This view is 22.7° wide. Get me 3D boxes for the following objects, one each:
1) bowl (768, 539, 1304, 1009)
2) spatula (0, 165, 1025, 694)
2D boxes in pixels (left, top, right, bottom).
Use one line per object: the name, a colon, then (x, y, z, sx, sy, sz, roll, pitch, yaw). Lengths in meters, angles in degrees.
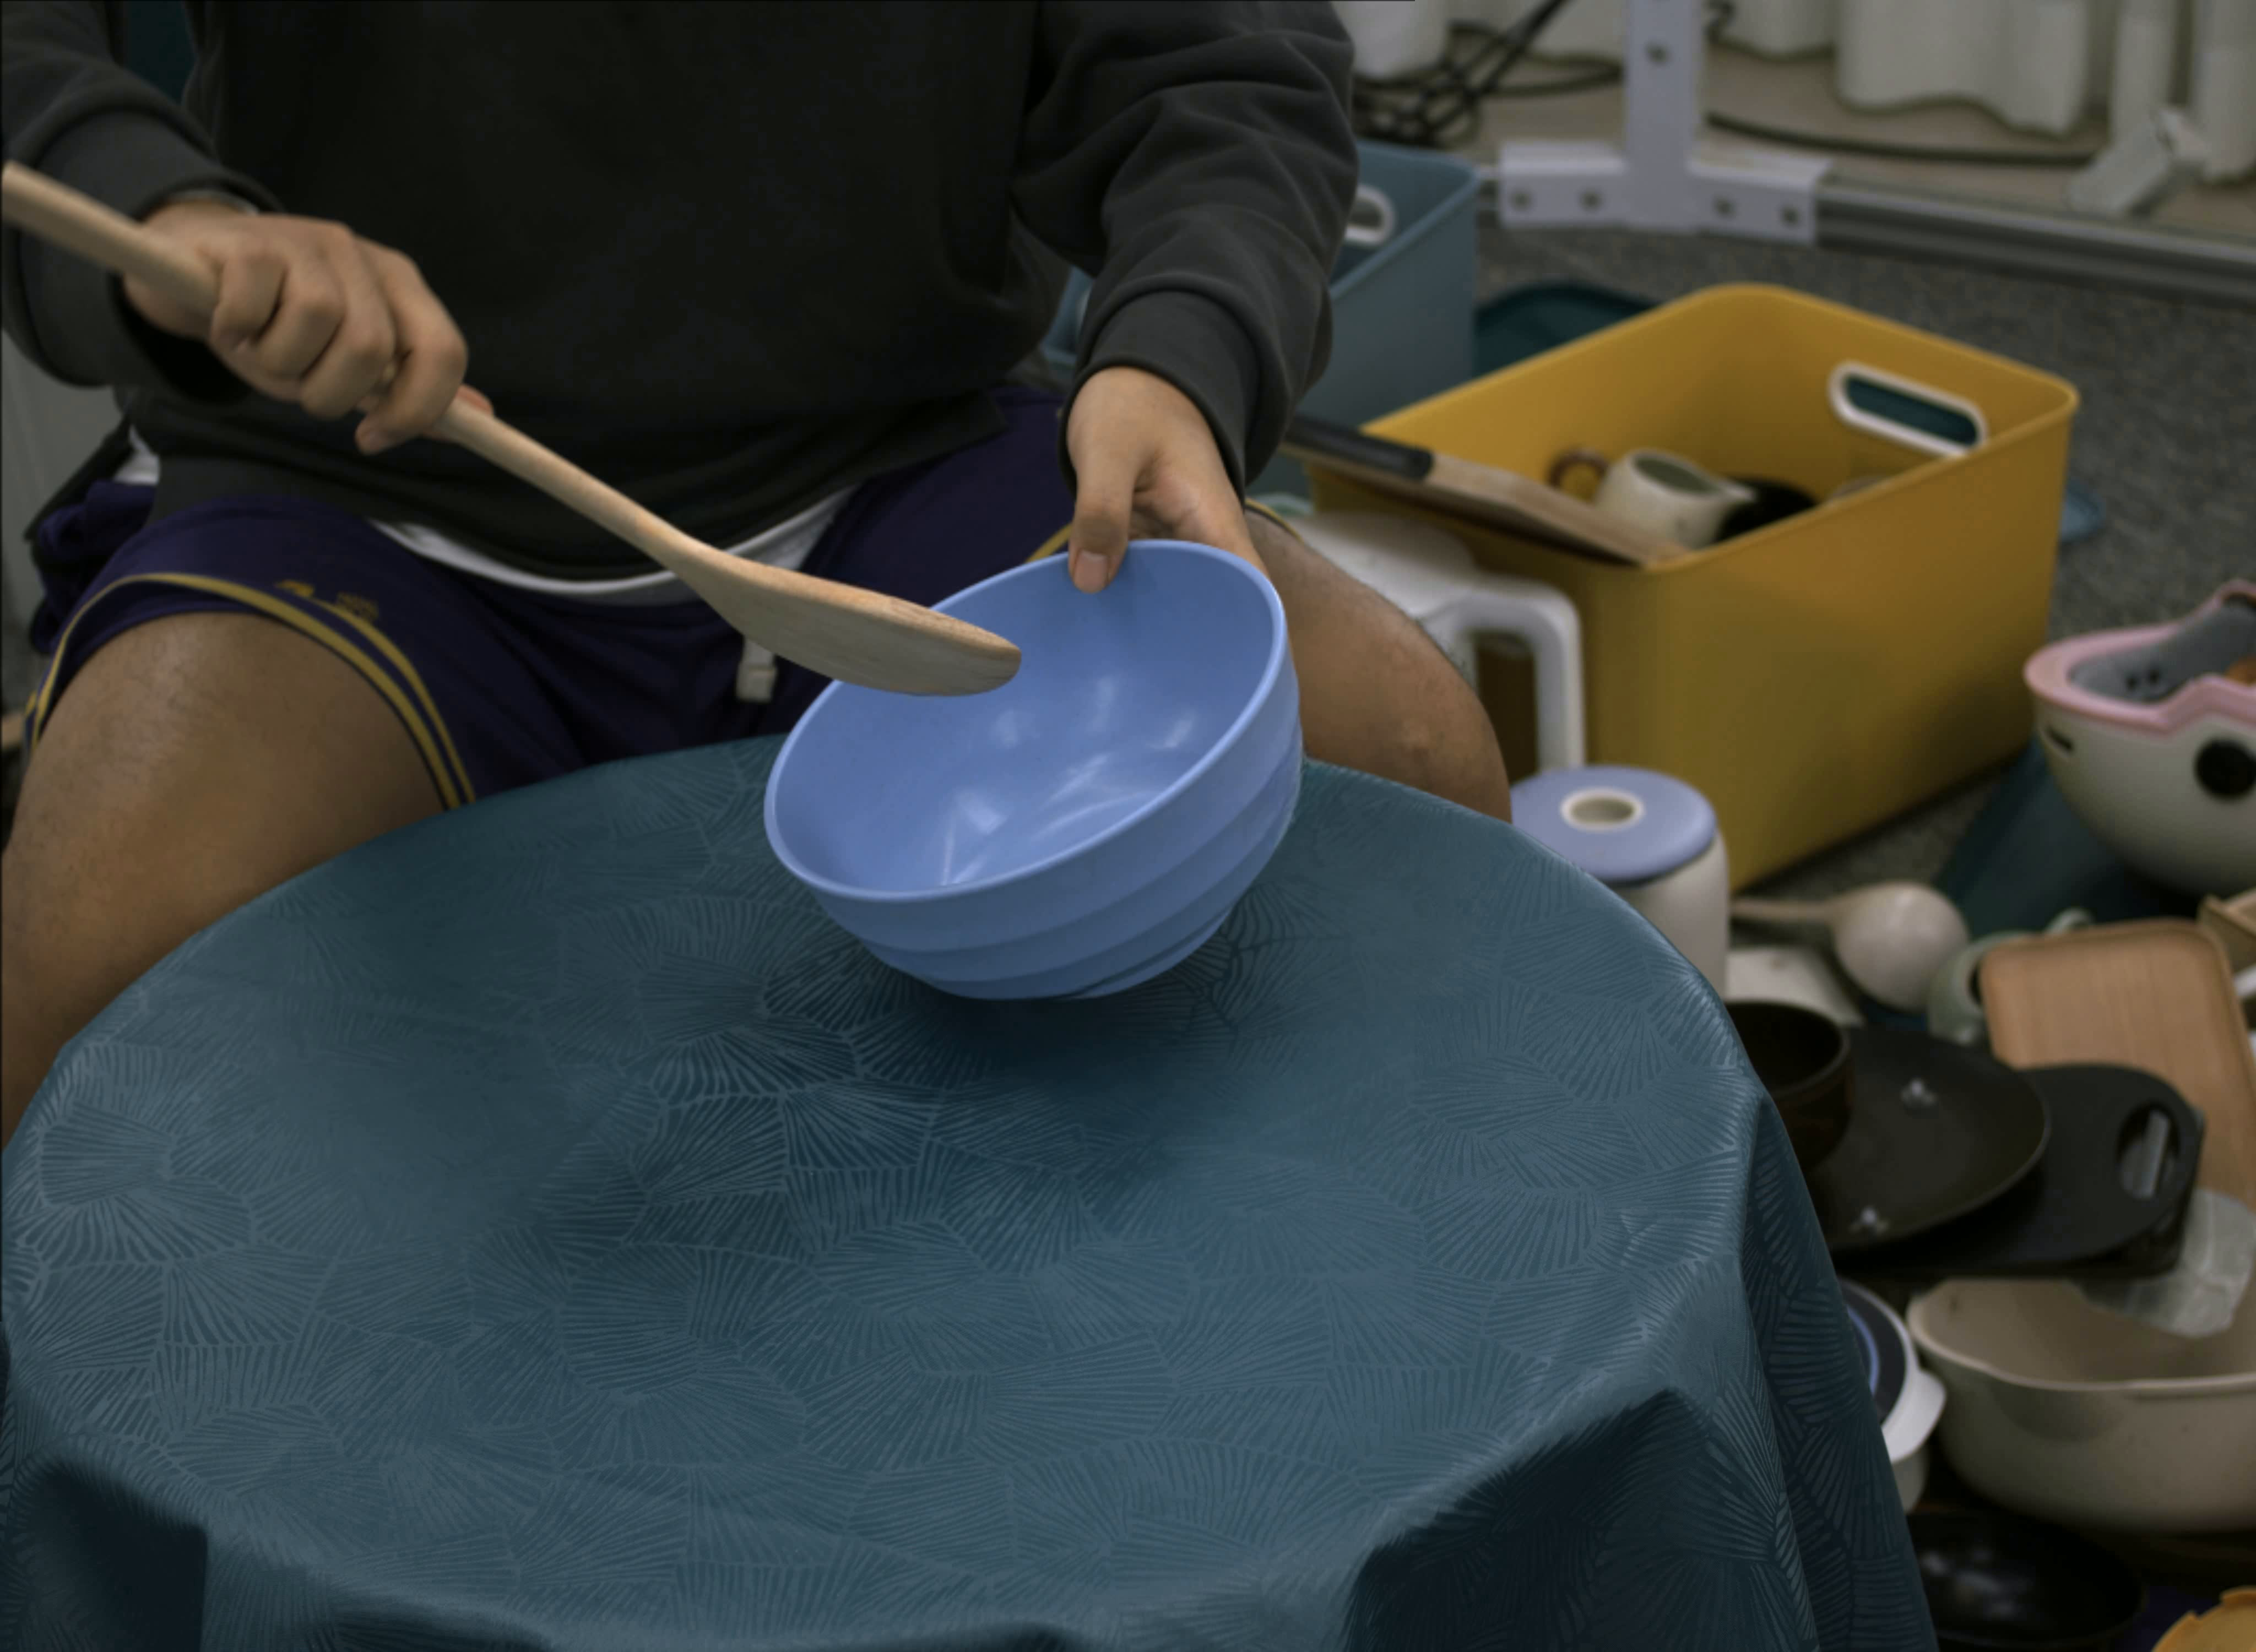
bowl: (-0.019, -0.003, 1.969, 0.195, 0.094, 0.200, -19, 33, 13)
spatula: (-0.207, -0.126, 1.824, 0.389, 0.019, 0.094, 28, -20, -20)
